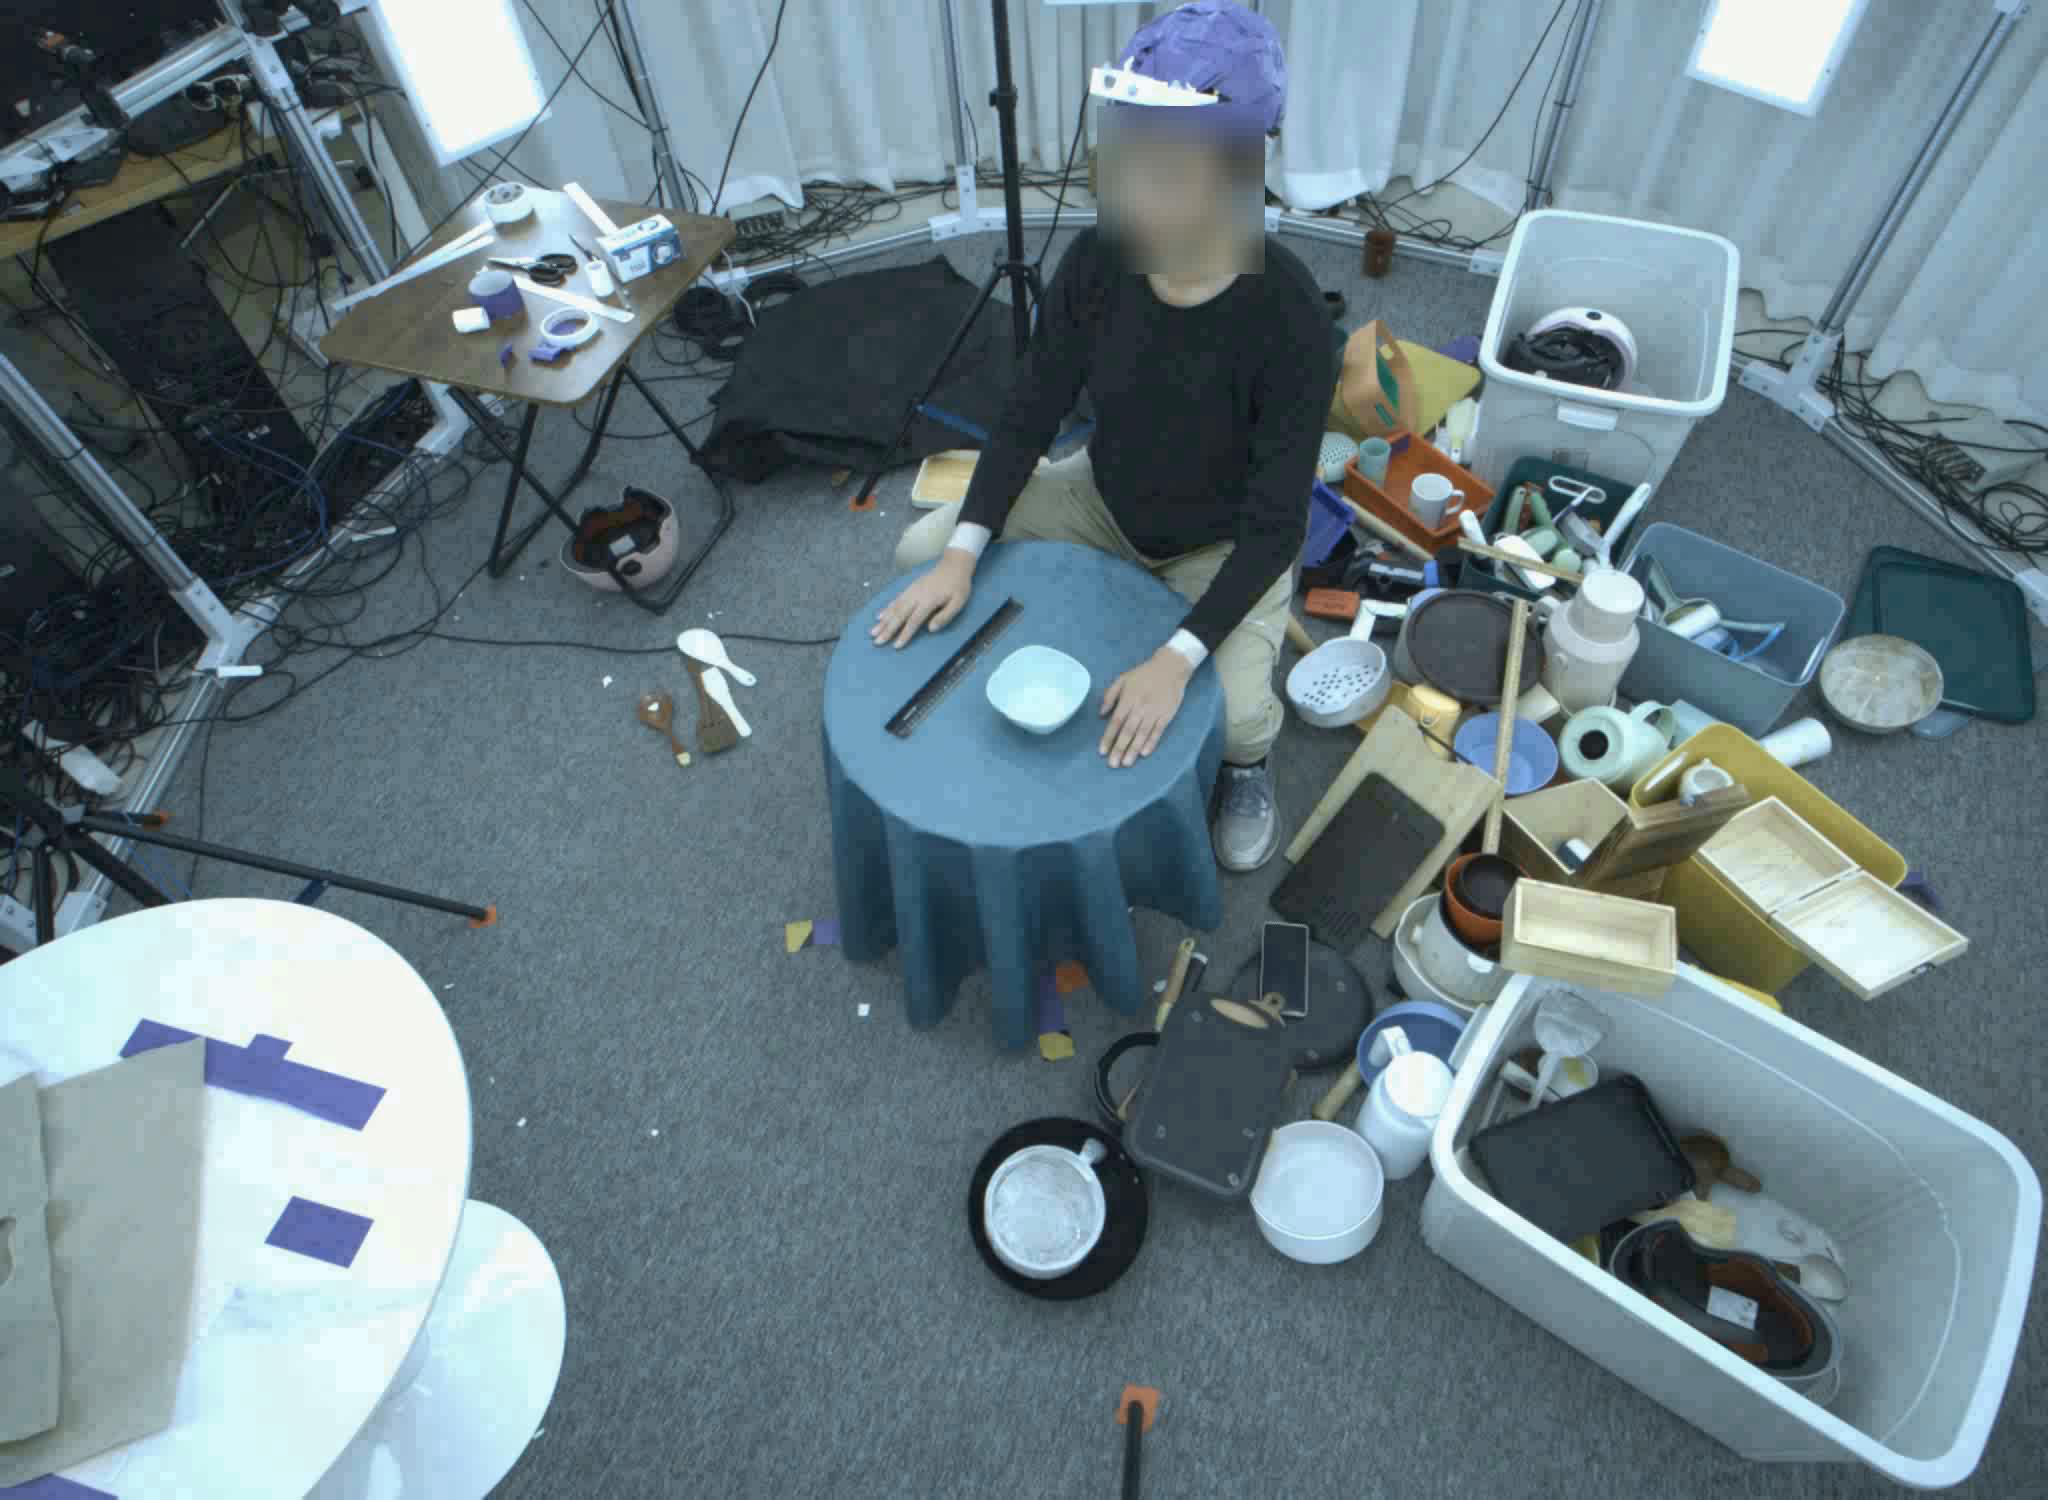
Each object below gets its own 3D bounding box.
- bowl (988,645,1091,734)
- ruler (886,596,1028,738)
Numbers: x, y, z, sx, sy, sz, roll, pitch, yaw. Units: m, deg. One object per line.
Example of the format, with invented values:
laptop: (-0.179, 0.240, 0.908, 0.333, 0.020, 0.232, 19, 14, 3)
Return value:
bowl: (0.024, -0.079, 1.808, 0.151, 0.059, 0.150, -2, 56, 4)
ruler: (-0.100, -0.131, 1.875, 0.039, 0.017, 0.314, 32, 62, 18)
